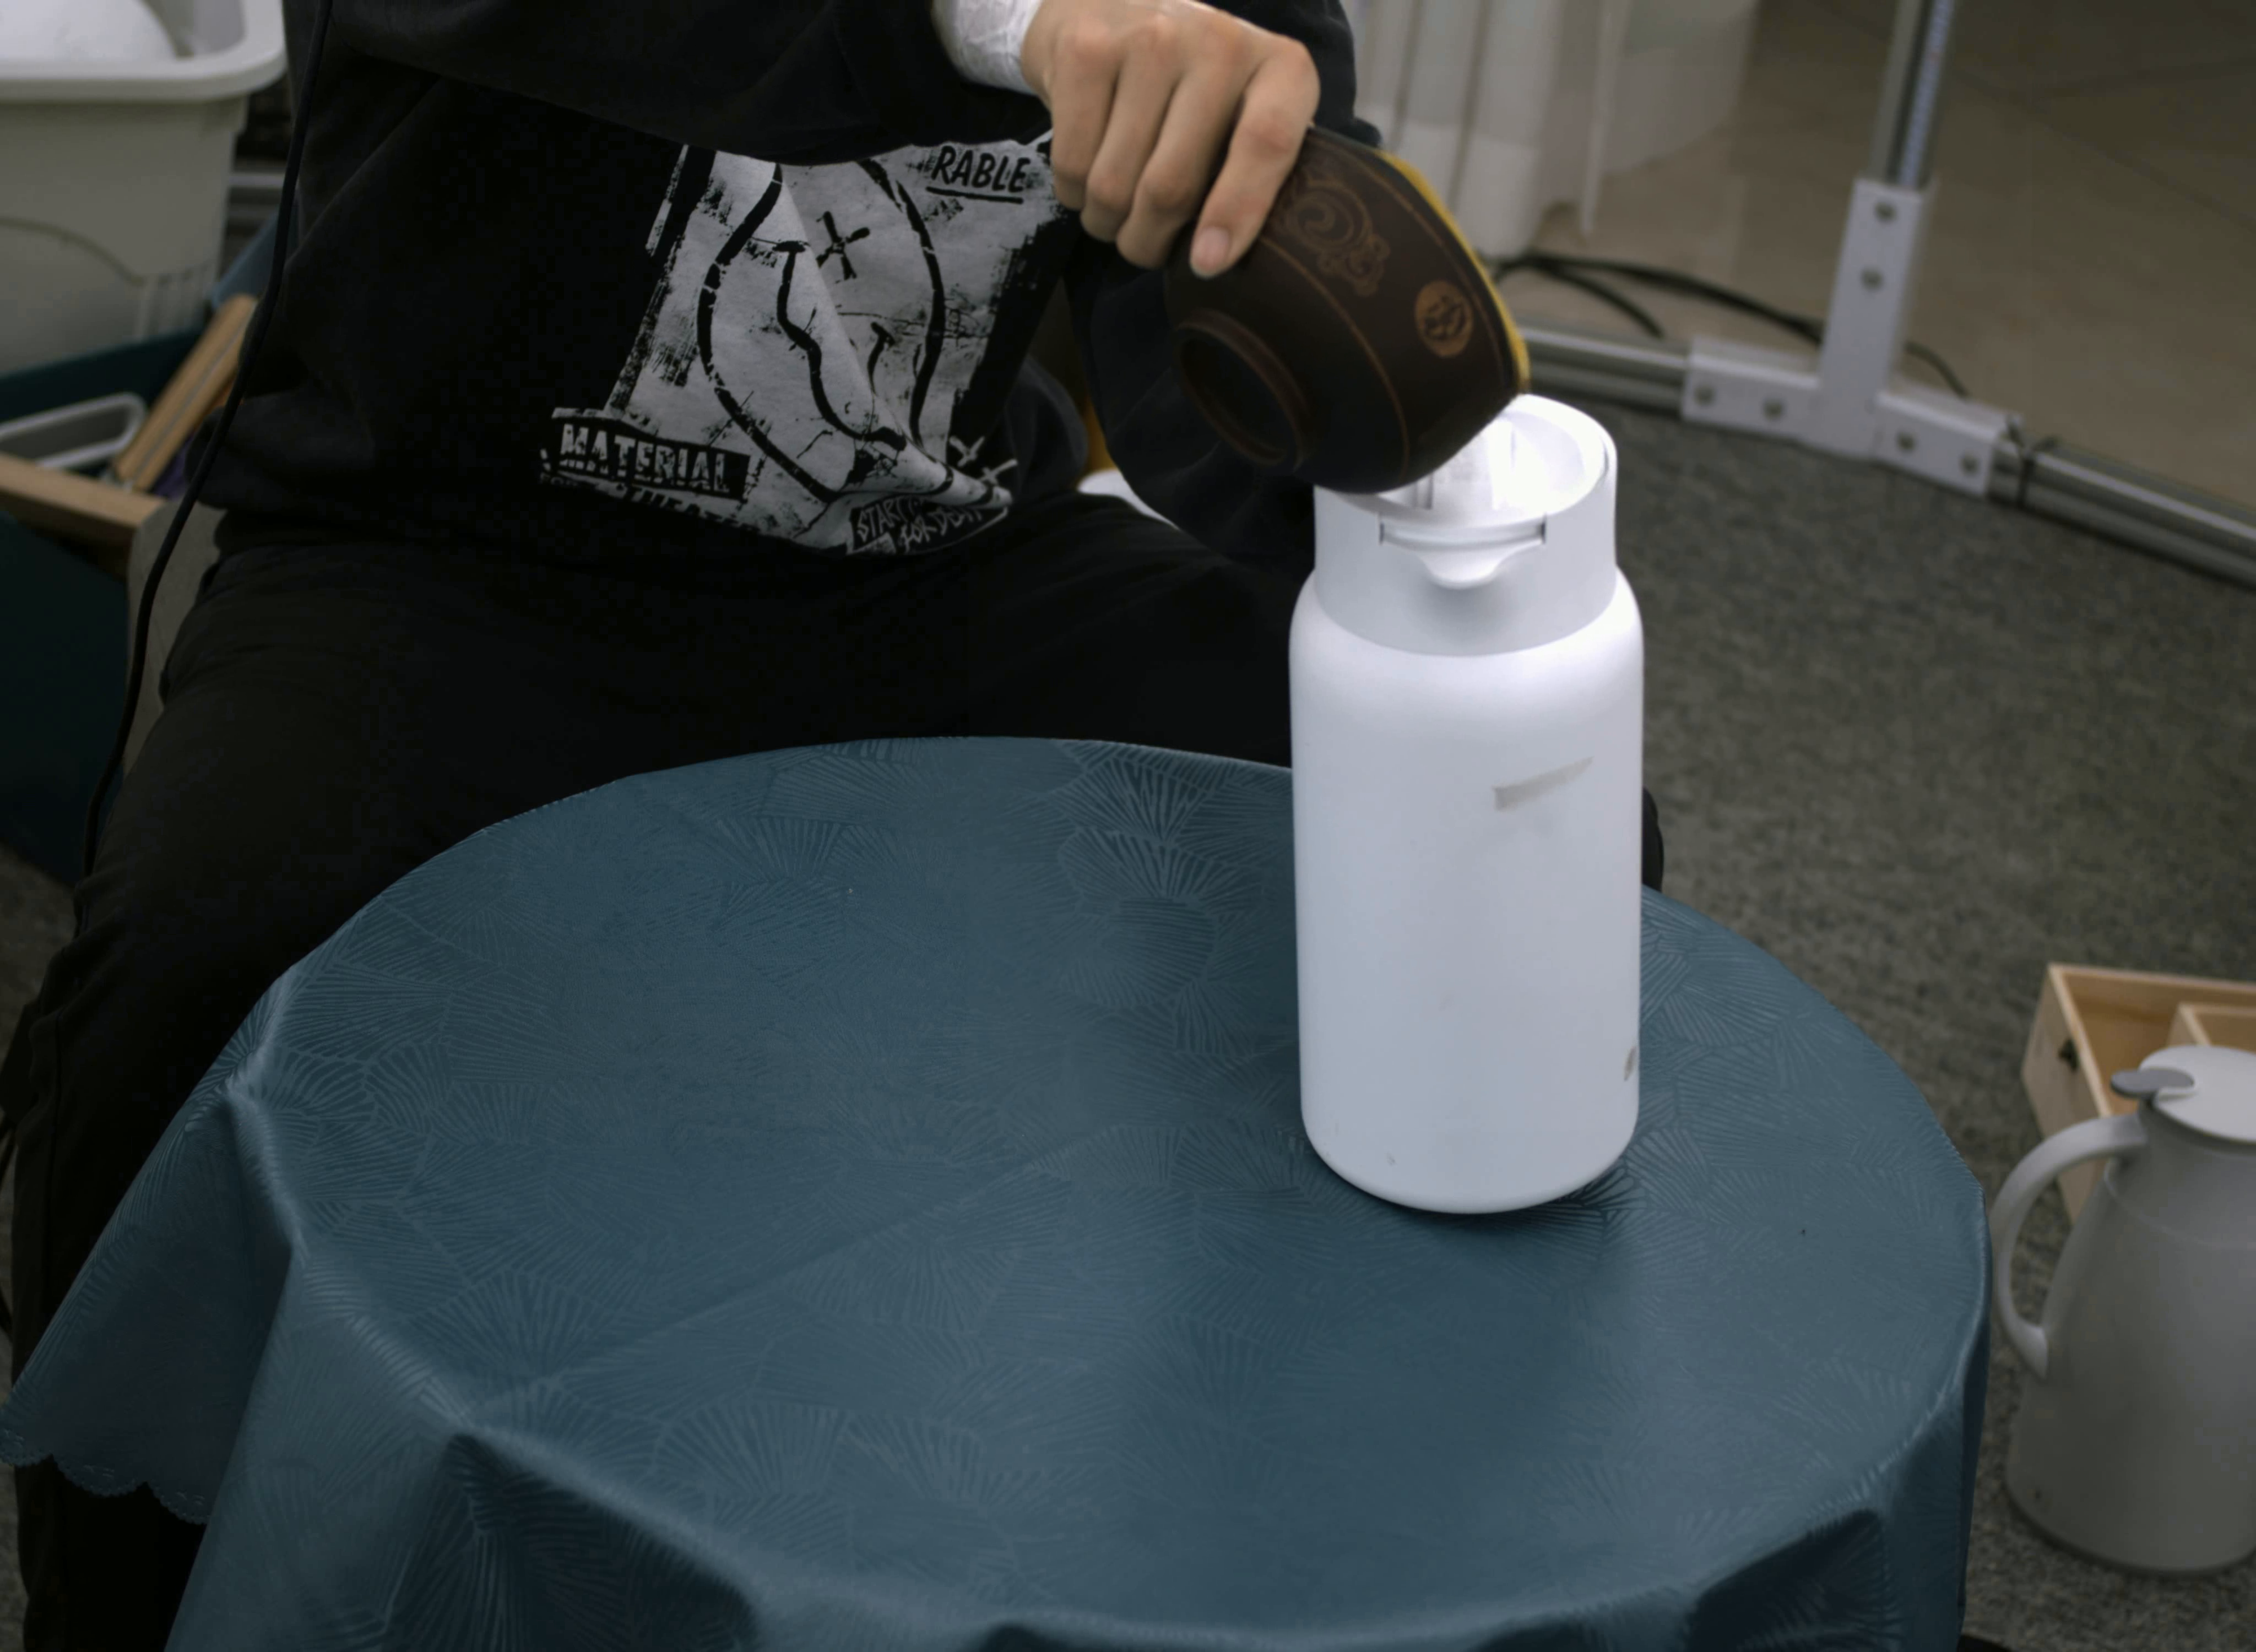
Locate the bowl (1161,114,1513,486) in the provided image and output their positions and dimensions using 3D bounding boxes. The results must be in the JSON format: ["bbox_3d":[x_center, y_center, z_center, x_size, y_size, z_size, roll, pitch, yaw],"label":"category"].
[{"bbox_3d":[0.056,-0.155,1.661,0.070,0.117,0.119,-41,48,-20],"label":"bowl"}]

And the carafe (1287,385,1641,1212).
[{"bbox_3d":[0.112,-0.017,1.800,0.123,0.267,0.174,-2,30,5],"label":"carafe"}]
